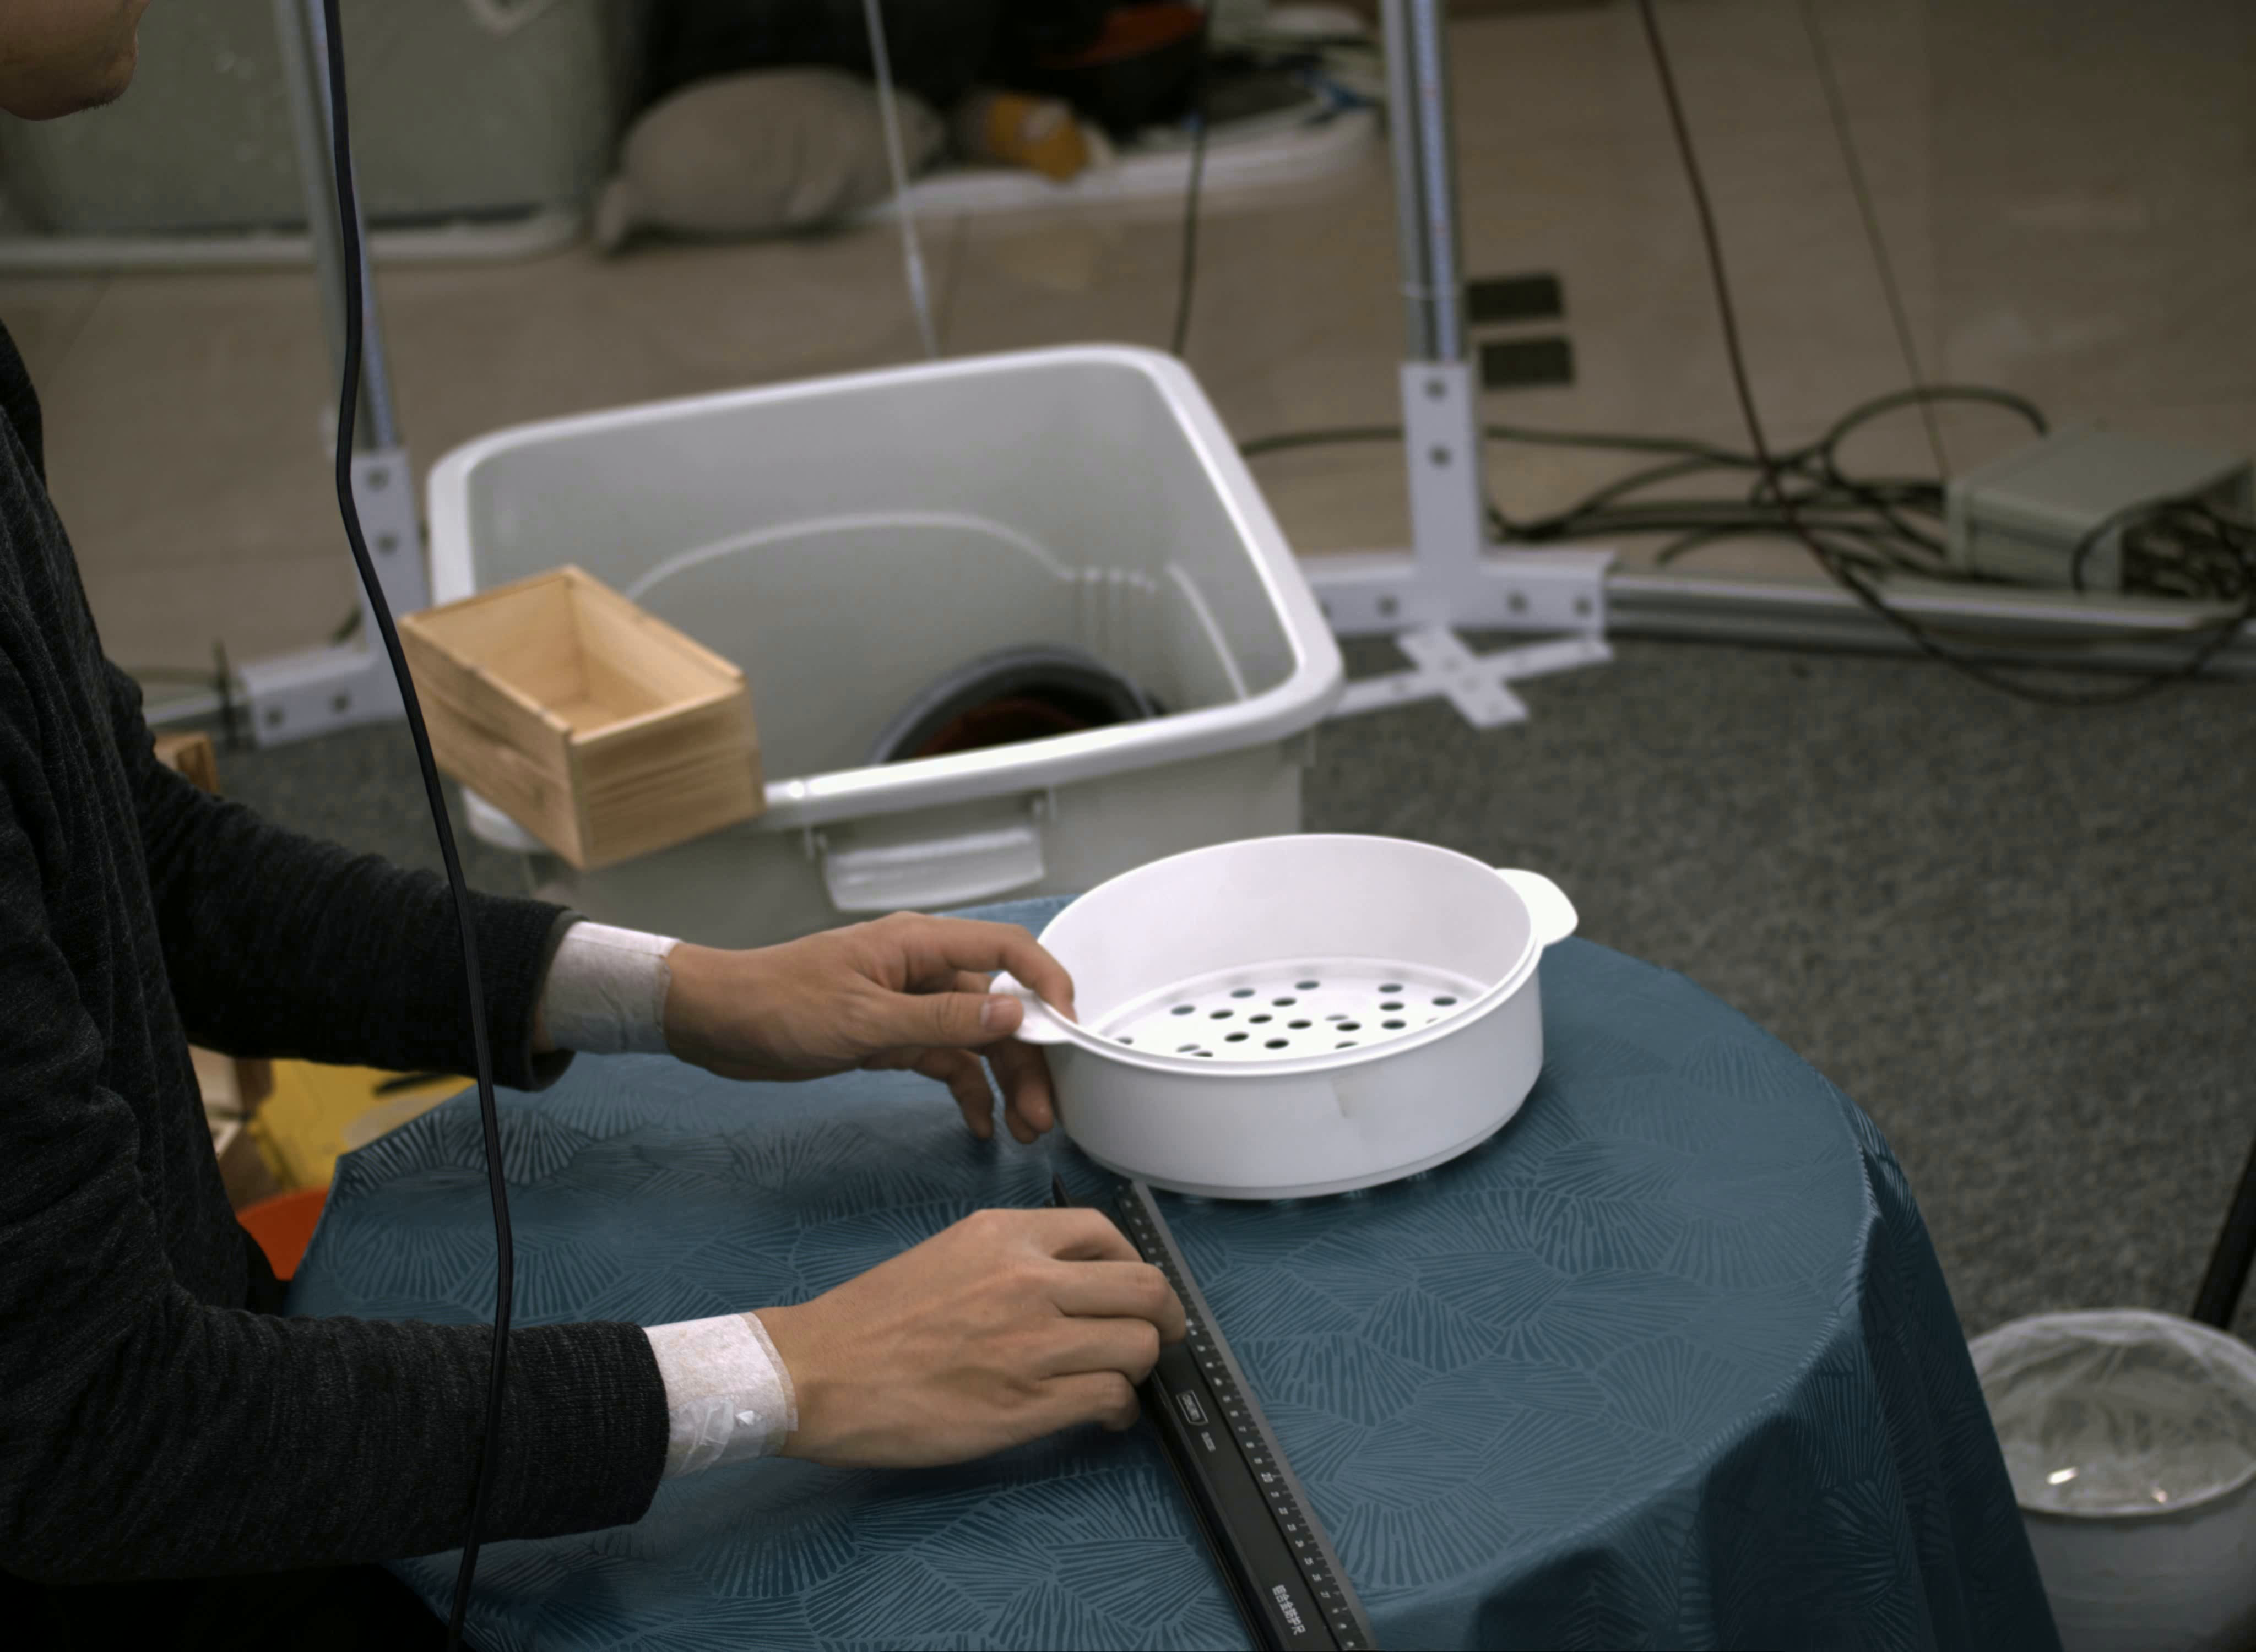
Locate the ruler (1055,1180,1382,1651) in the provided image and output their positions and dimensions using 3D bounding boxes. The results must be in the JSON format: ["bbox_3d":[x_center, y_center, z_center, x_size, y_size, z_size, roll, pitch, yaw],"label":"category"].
[{"bbox_3d":[0.028,0.201,1.962,0.039,0.017,0.308,-15,30,-8],"label":"ruler"}]

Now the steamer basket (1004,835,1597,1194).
[{"bbox_3d":[0.069,0.073,2.190,0.230,0.070,0.199,-9,25,-11],"label":"steamer basket"}]
